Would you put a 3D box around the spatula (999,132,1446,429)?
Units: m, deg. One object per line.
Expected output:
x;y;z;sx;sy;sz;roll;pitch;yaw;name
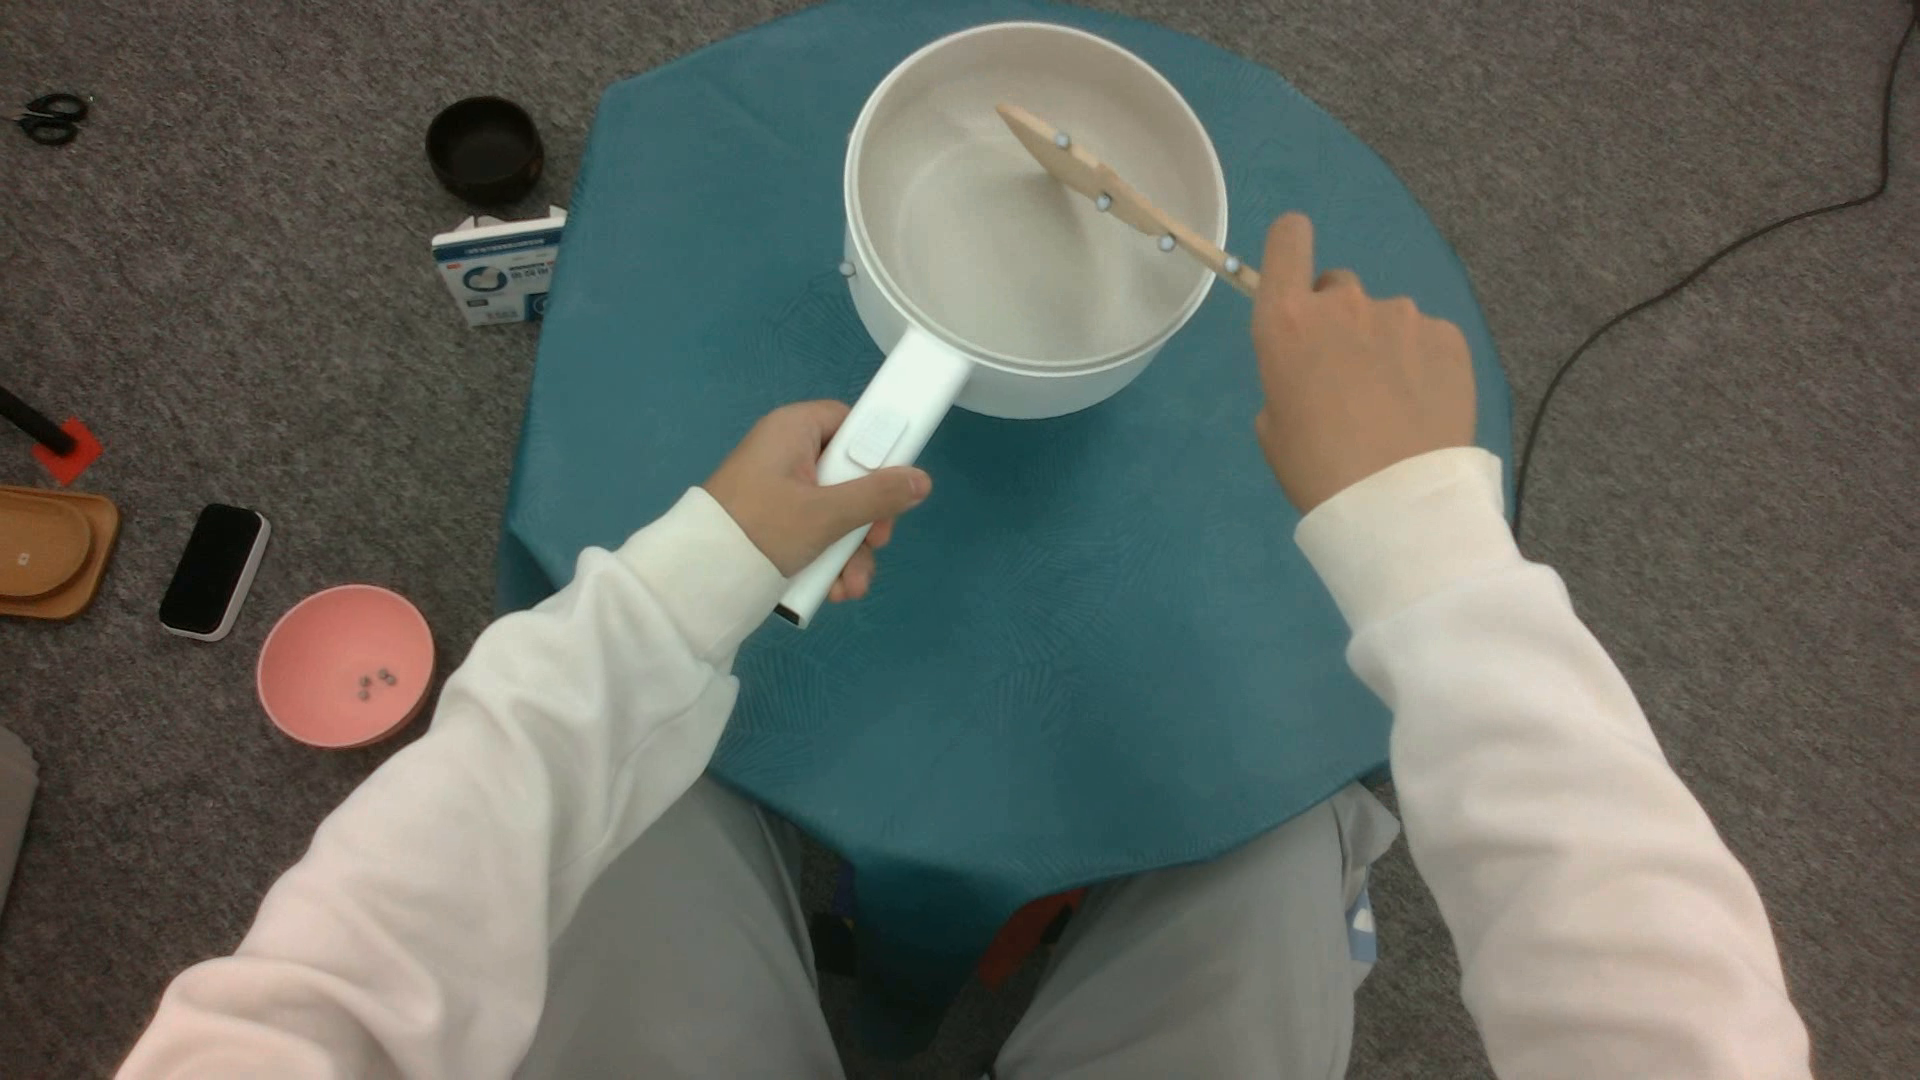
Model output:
0.122;-0.132;0.678;0.010;0.072;0.293;-51;52;6;spatula

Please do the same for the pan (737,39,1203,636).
-0.010;-0.101;0.744;0.201;0.102;0.356;29;72;1;pan
